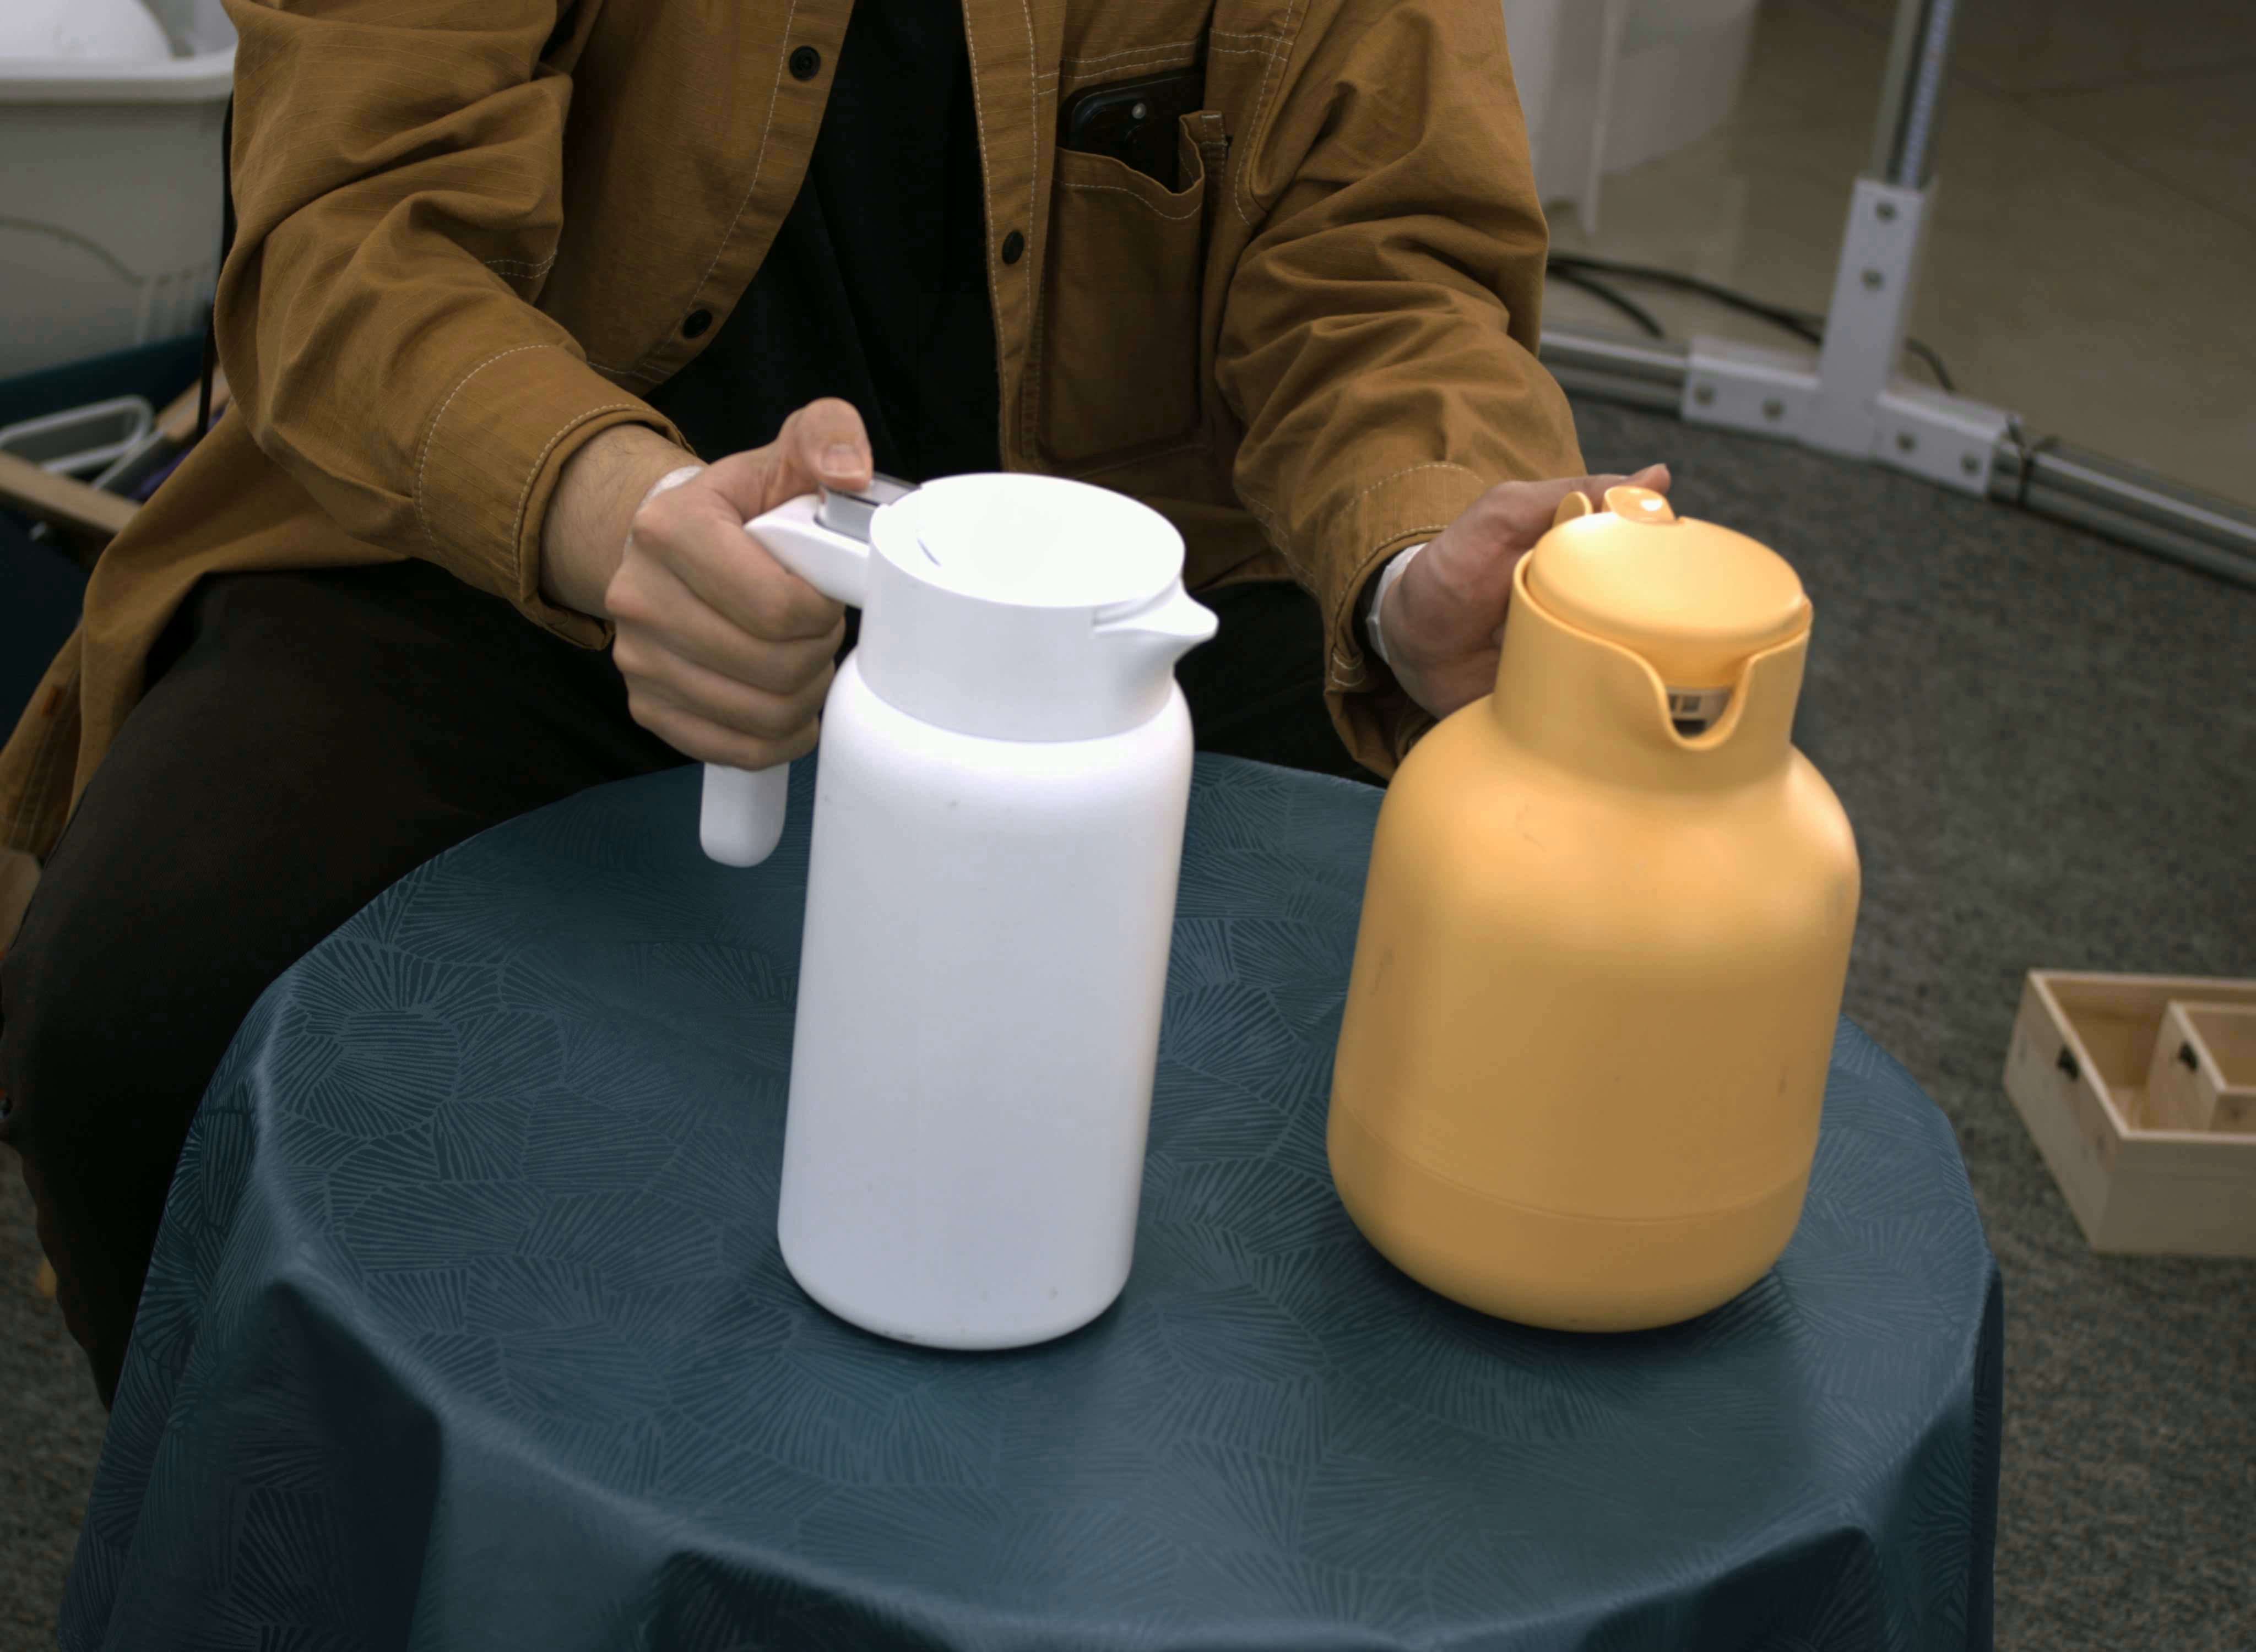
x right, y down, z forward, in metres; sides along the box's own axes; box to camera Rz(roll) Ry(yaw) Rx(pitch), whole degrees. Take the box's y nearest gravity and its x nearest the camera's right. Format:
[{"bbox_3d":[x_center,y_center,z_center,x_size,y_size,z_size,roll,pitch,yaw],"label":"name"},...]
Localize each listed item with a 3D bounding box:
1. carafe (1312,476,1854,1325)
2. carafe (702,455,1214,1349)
[{"bbox_3d":[0.156,0.015,1.763,0.163,0.259,0.204,7,28,-6],"label":"carafe"},{"bbox_3d":[-0.059,0.021,1.697,0.173,0.268,0.123,19,31,26],"label":"carafe"}]
